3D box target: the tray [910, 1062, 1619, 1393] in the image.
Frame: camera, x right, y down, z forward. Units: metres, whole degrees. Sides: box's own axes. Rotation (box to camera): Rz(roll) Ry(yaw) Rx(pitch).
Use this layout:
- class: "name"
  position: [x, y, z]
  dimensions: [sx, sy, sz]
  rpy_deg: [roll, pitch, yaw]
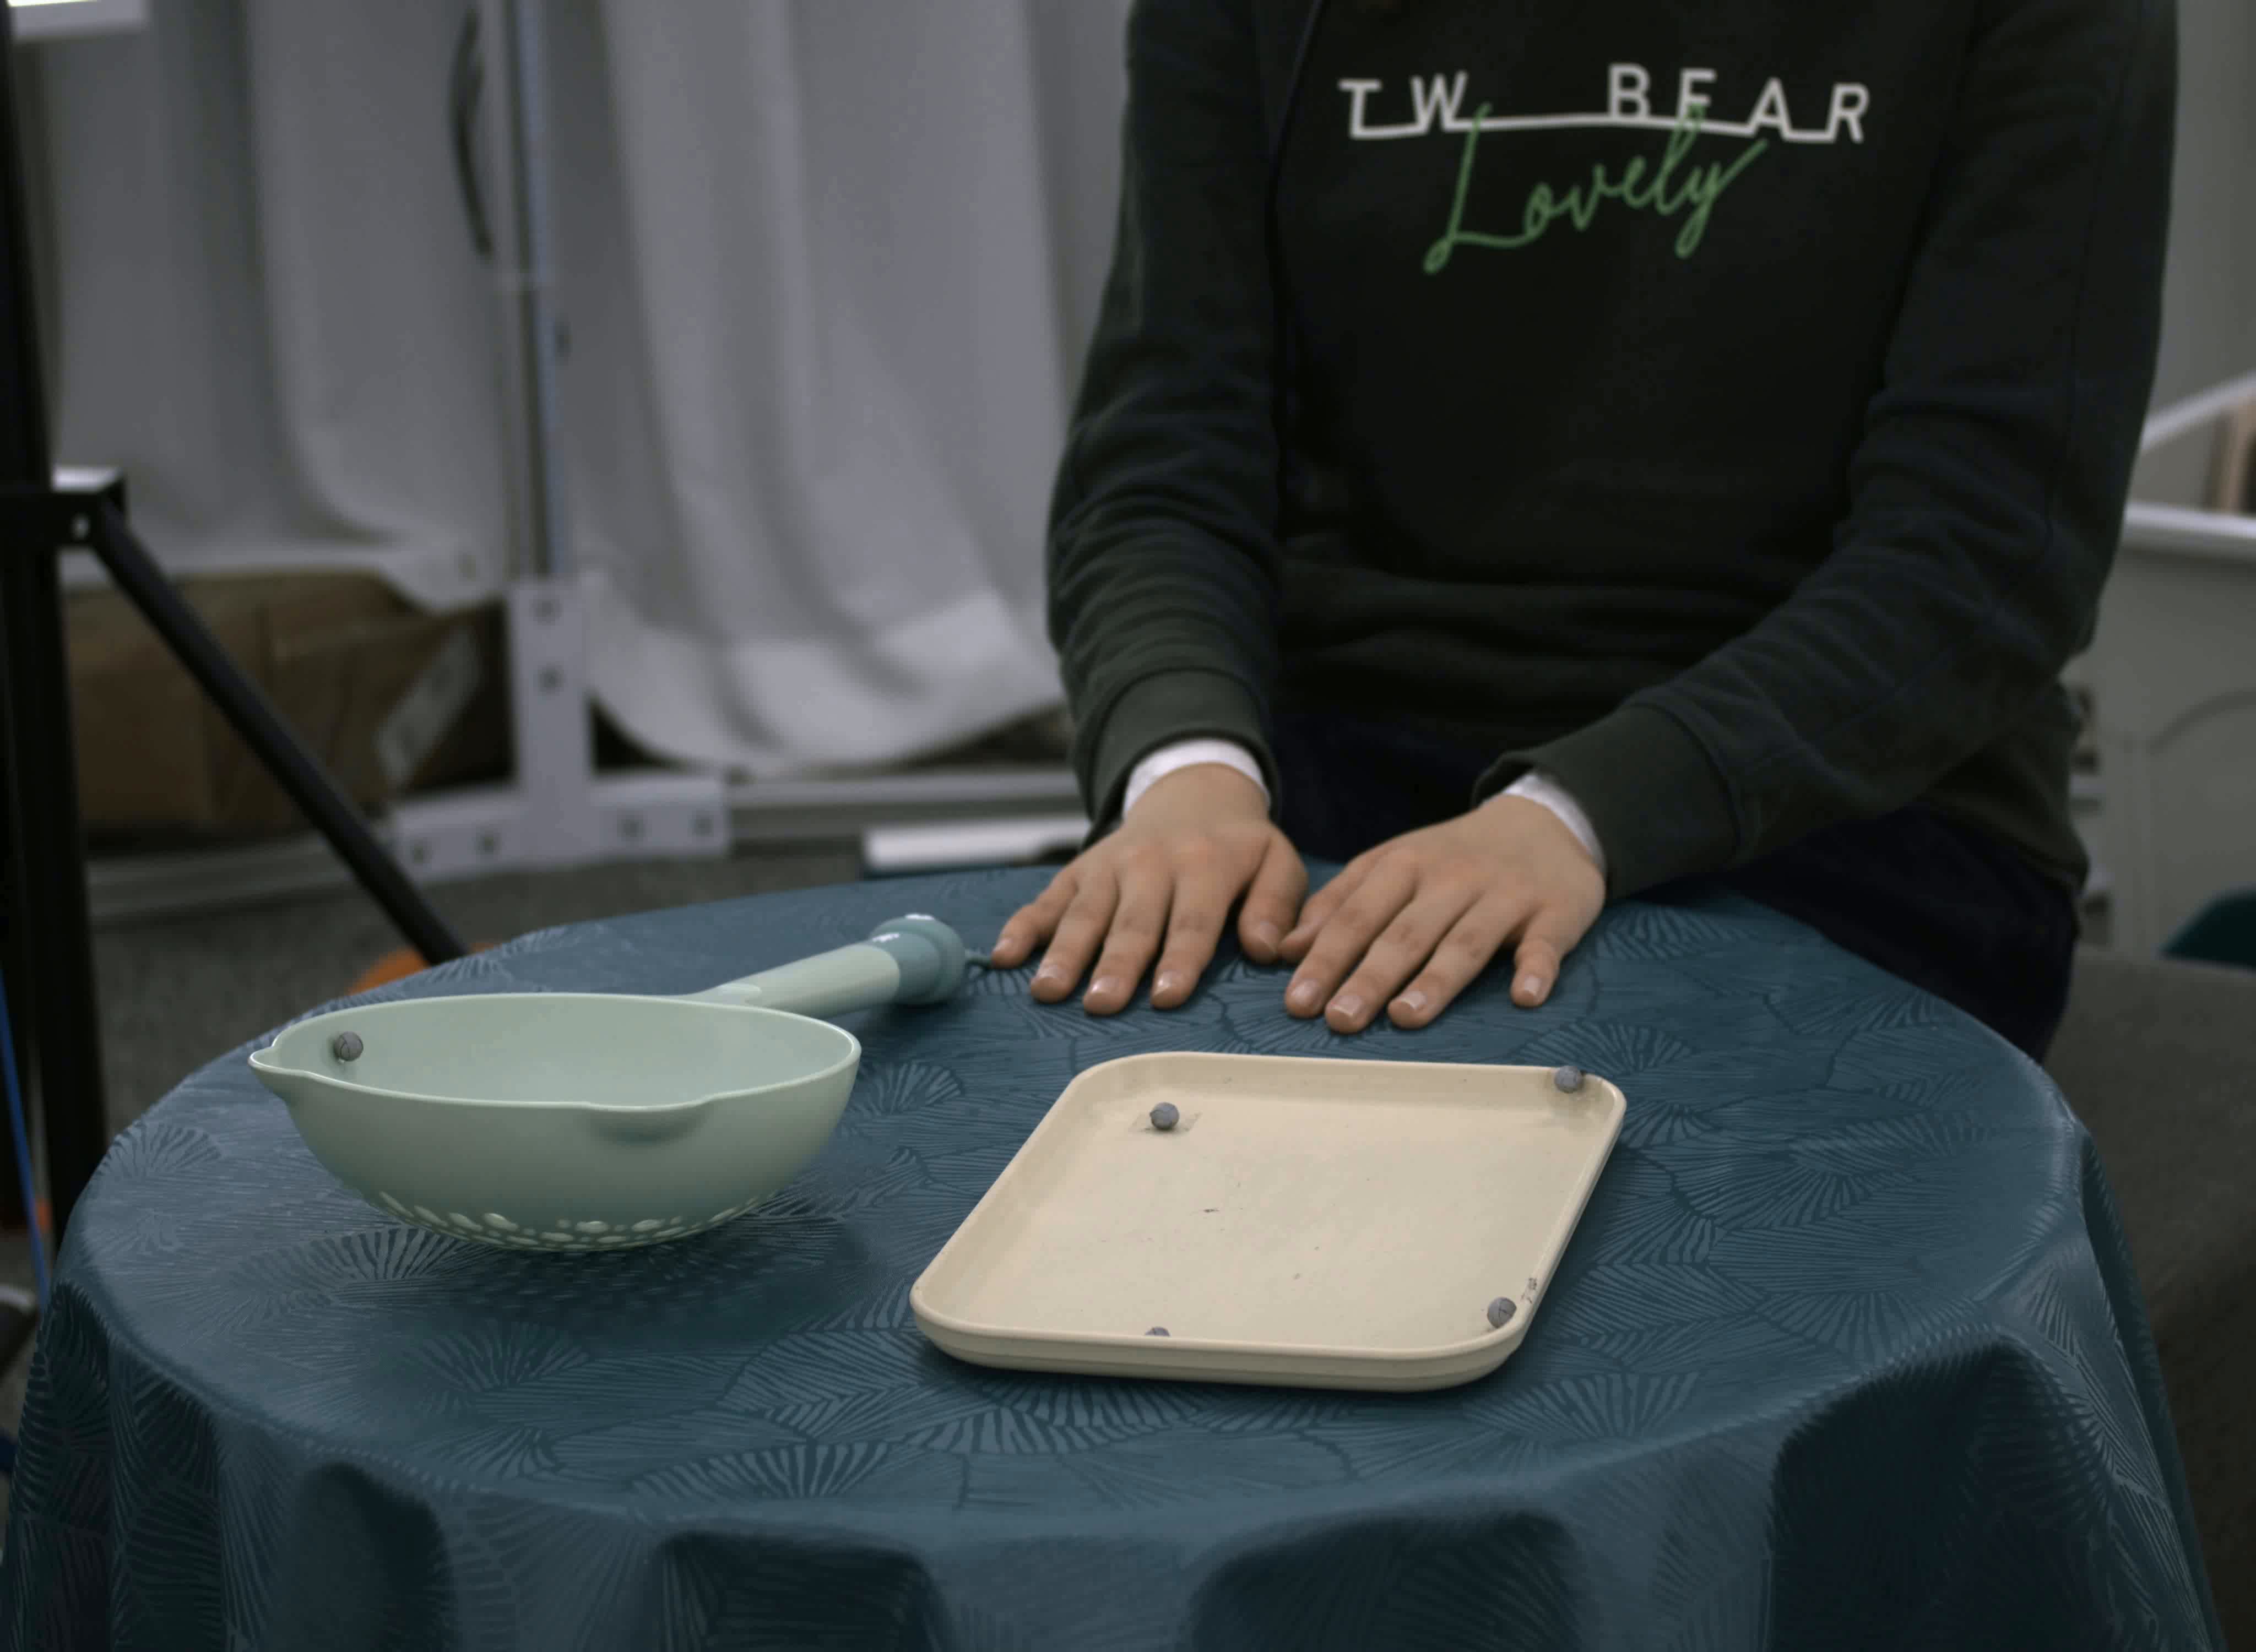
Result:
- class: "tray"
  position: [0.044, 0.113, 1.505]
  dimensions: [0.172, 0.017, 0.238]
  rpy_deg: [2, 15, 14]

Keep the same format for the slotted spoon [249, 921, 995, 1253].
- class: "slotted spoon"
  position: [-0.122, 0.064, 1.619]
  dimensions: [0.172, 0.075, 0.353]
  rpy_deg: [5, 17, 23]
